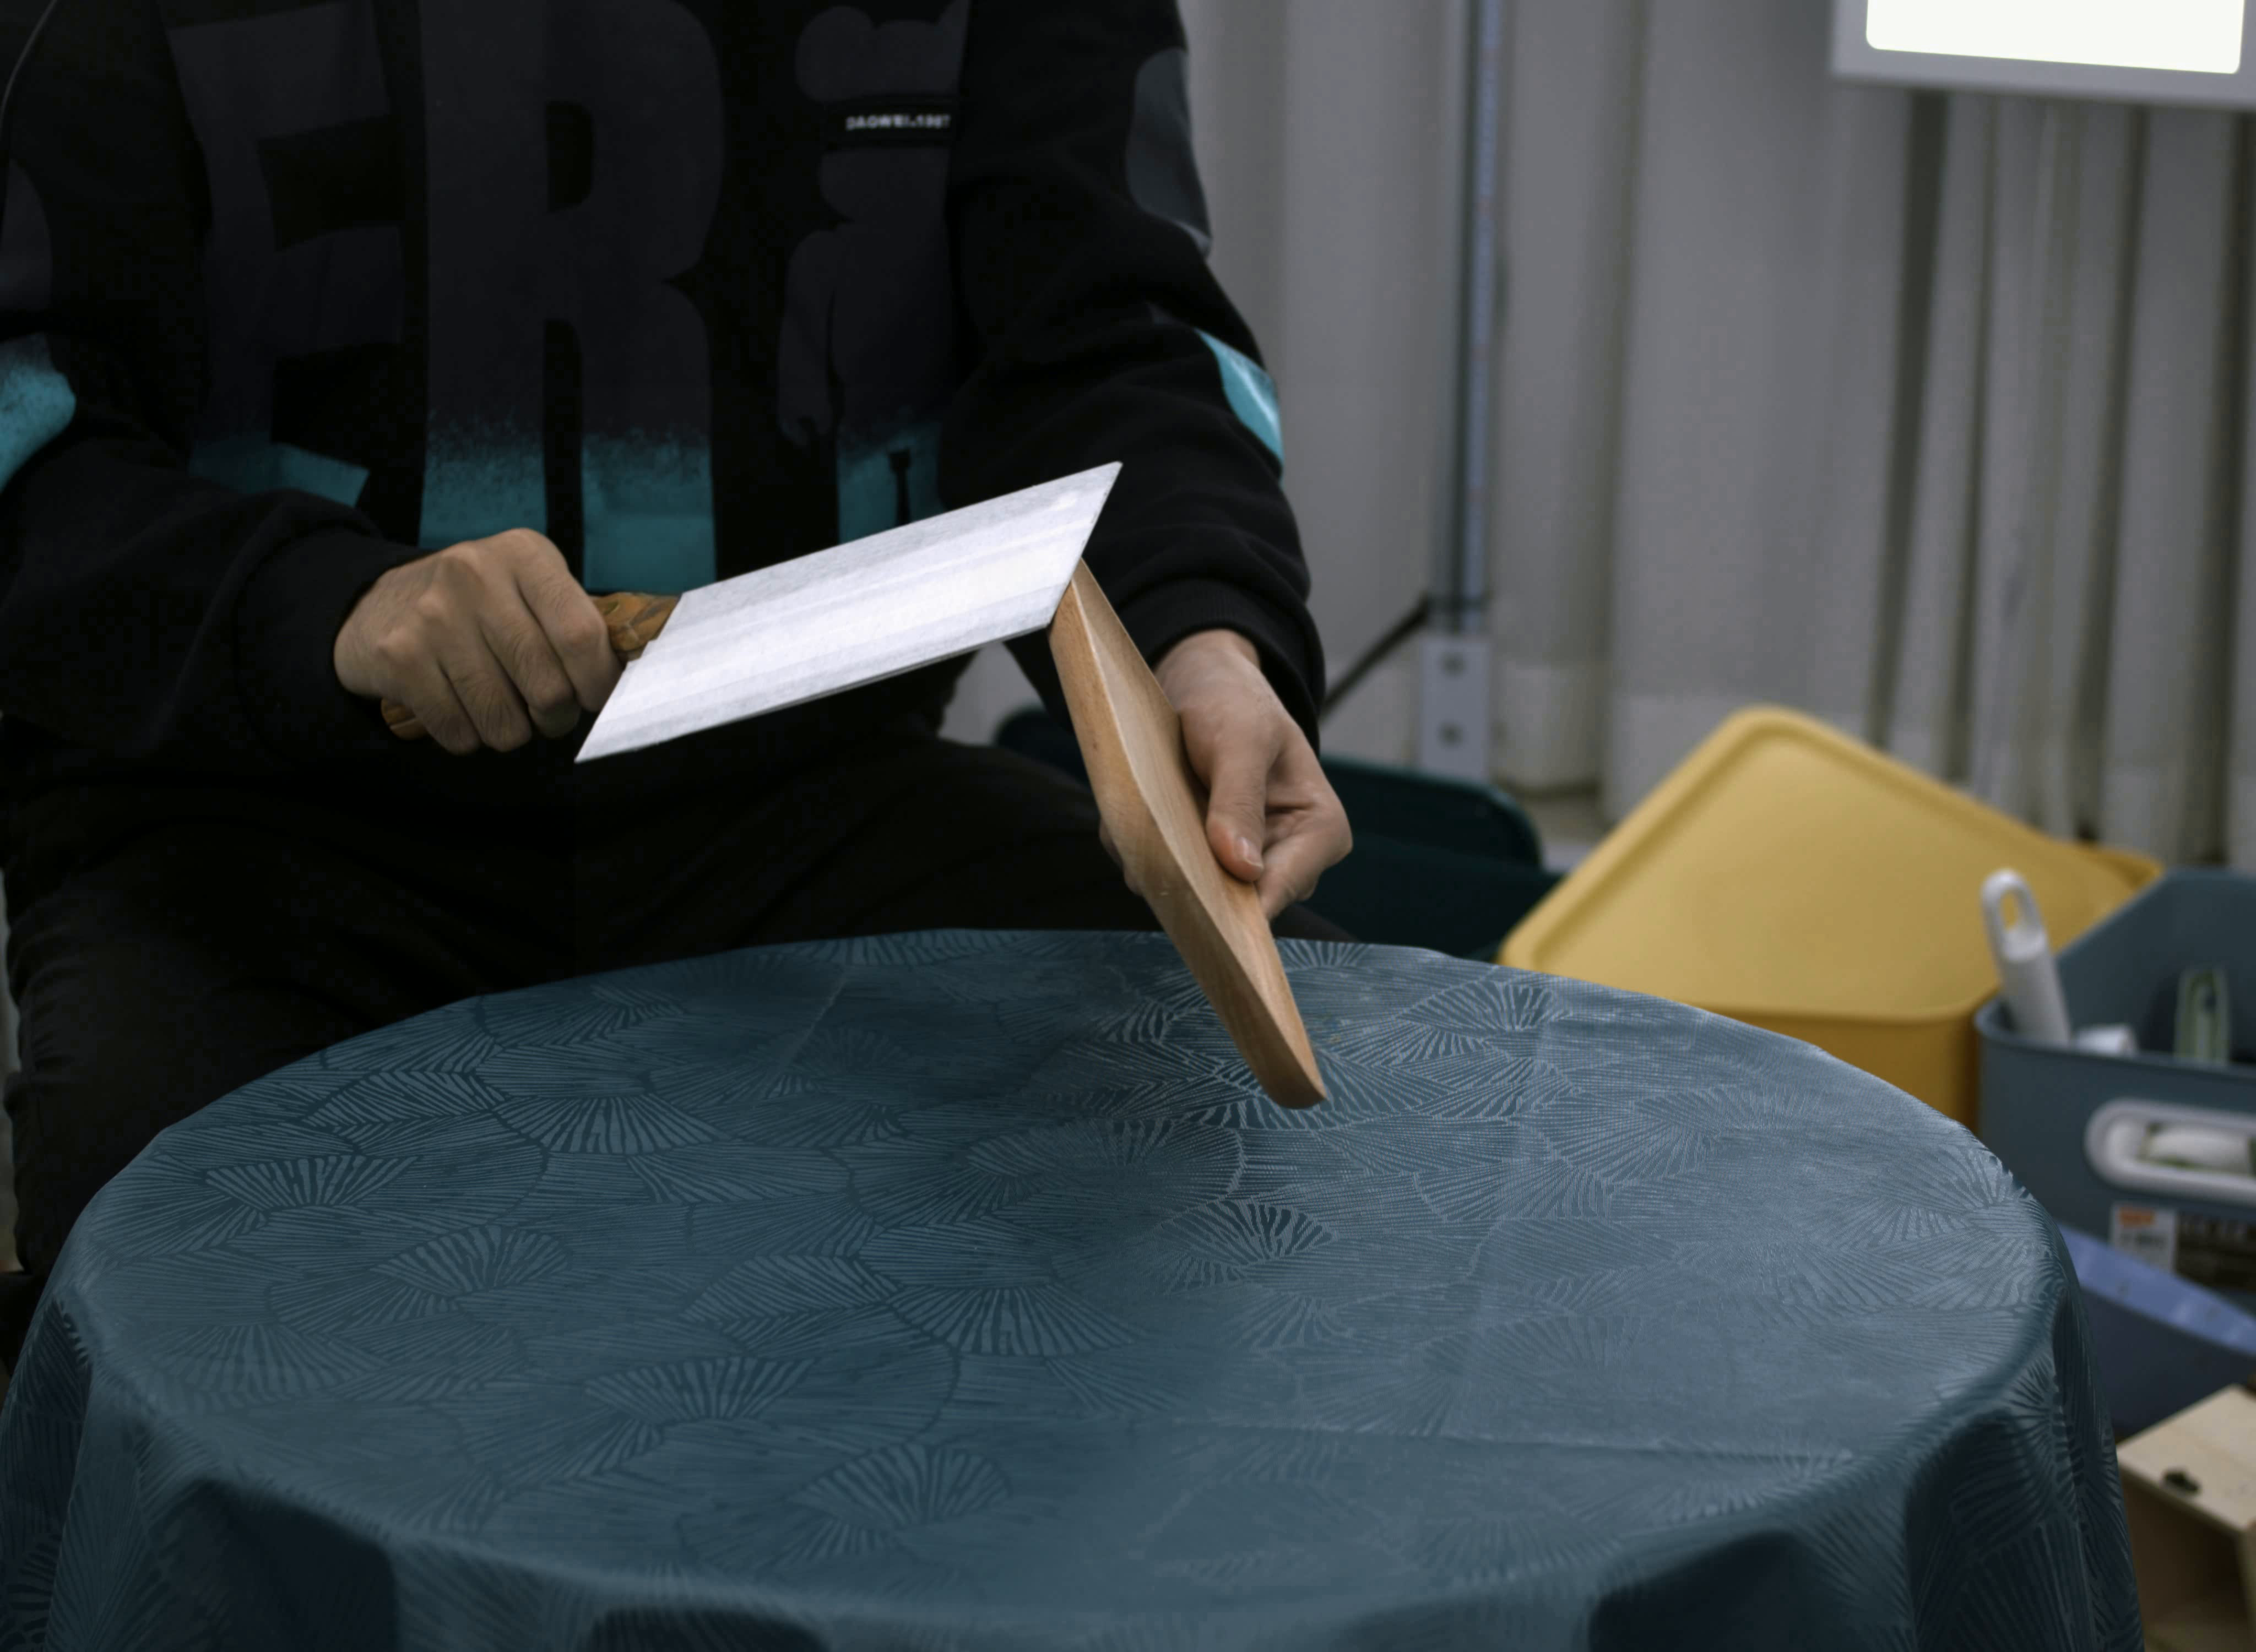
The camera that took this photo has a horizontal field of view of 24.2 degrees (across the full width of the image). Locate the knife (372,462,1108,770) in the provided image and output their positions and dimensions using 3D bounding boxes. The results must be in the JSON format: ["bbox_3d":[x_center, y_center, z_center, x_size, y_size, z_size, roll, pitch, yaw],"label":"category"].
[{"bbox_3d":[-0.140,-0.058,1.763,0.303,0.021,0.092,-15,35,30],"label":"knife"}]

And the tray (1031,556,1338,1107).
[{"bbox_3d":[0.014,-0.004,1.659,0.023,0.132,0.248,-28,23,3],"label":"tray"}]
